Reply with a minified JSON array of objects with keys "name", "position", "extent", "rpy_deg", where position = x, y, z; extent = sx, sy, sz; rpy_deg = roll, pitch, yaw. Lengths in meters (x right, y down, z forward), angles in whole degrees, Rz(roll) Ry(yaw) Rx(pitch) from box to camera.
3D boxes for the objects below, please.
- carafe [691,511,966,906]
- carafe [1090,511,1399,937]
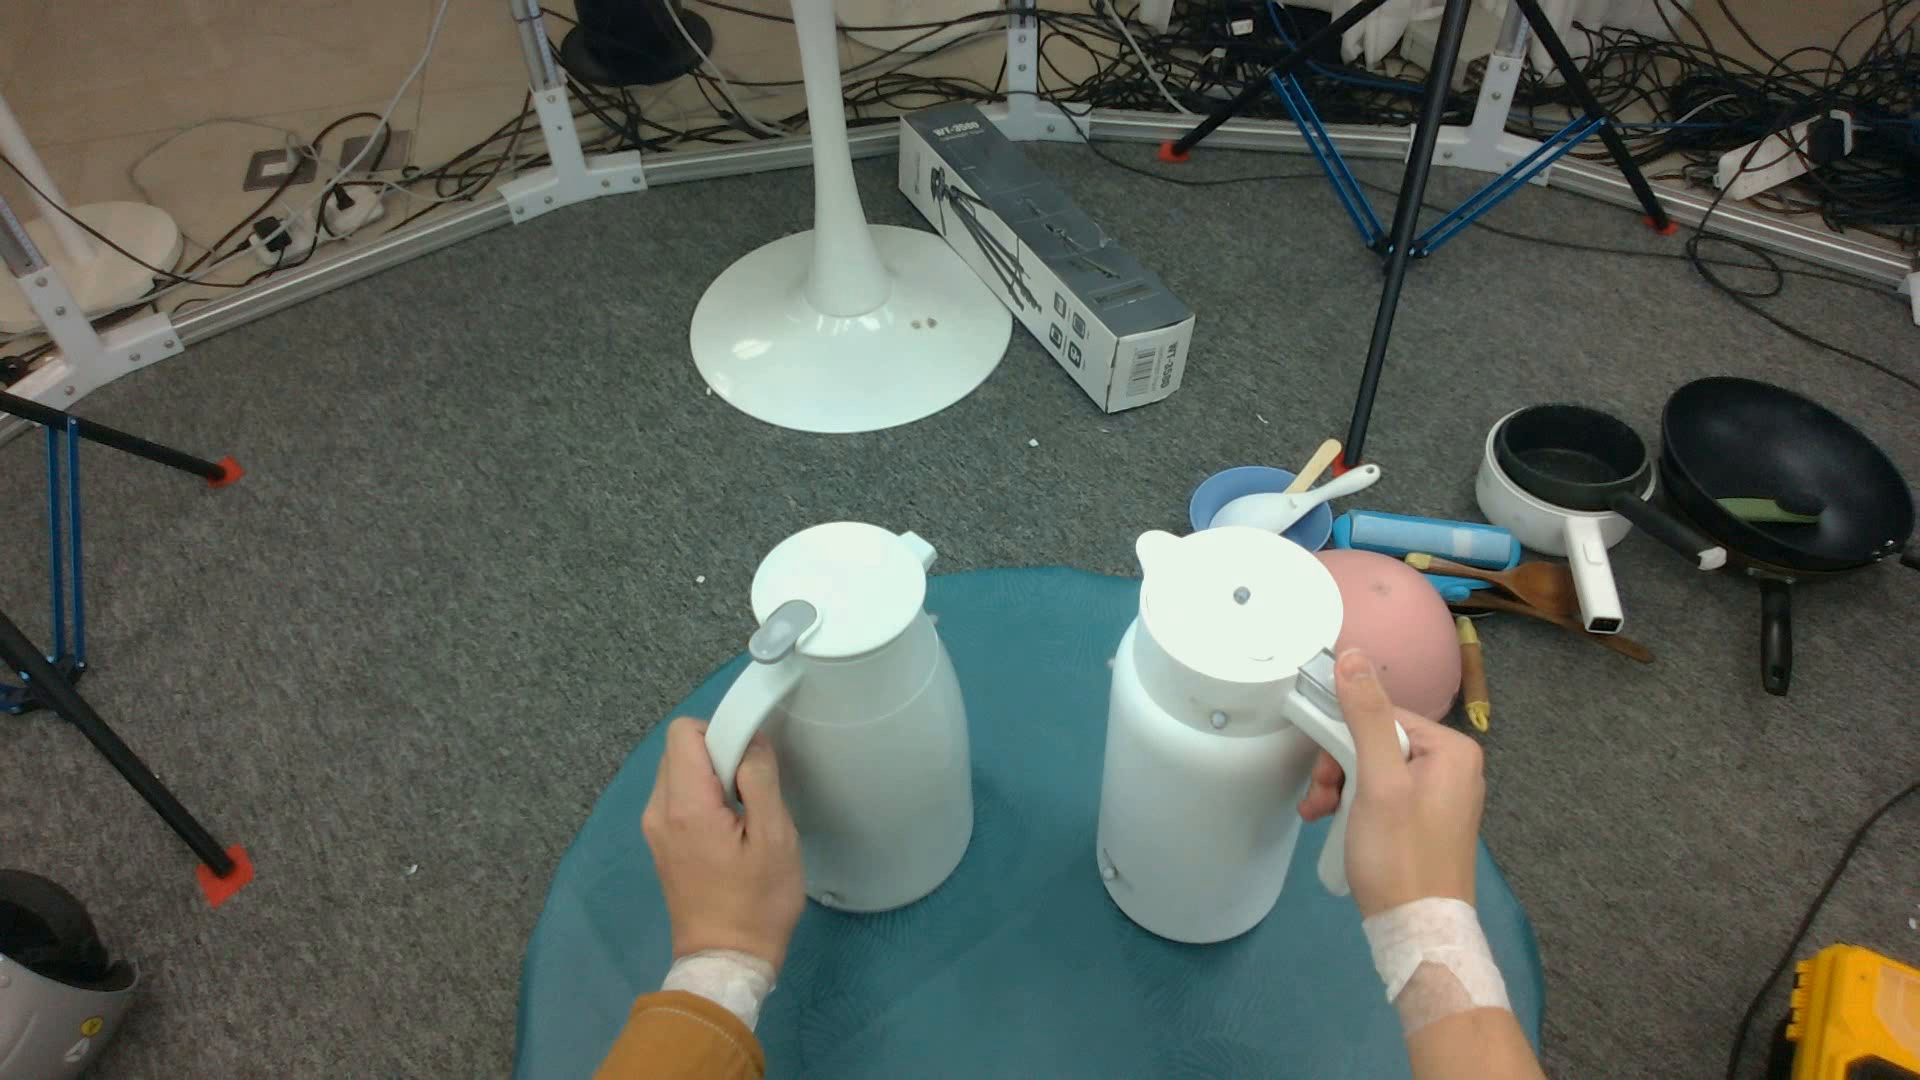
[{"name":"carafe","position":[-0.077,0.107,0.792],"extent":[0.132,0.247,0.168],"rpy_deg":[33,58,27]},{"name":"carafe","position":[0.148,0.120,0.762],"extent":[0.124,0.267,0.173],"rpy_deg":[-30,54,-26]}]
